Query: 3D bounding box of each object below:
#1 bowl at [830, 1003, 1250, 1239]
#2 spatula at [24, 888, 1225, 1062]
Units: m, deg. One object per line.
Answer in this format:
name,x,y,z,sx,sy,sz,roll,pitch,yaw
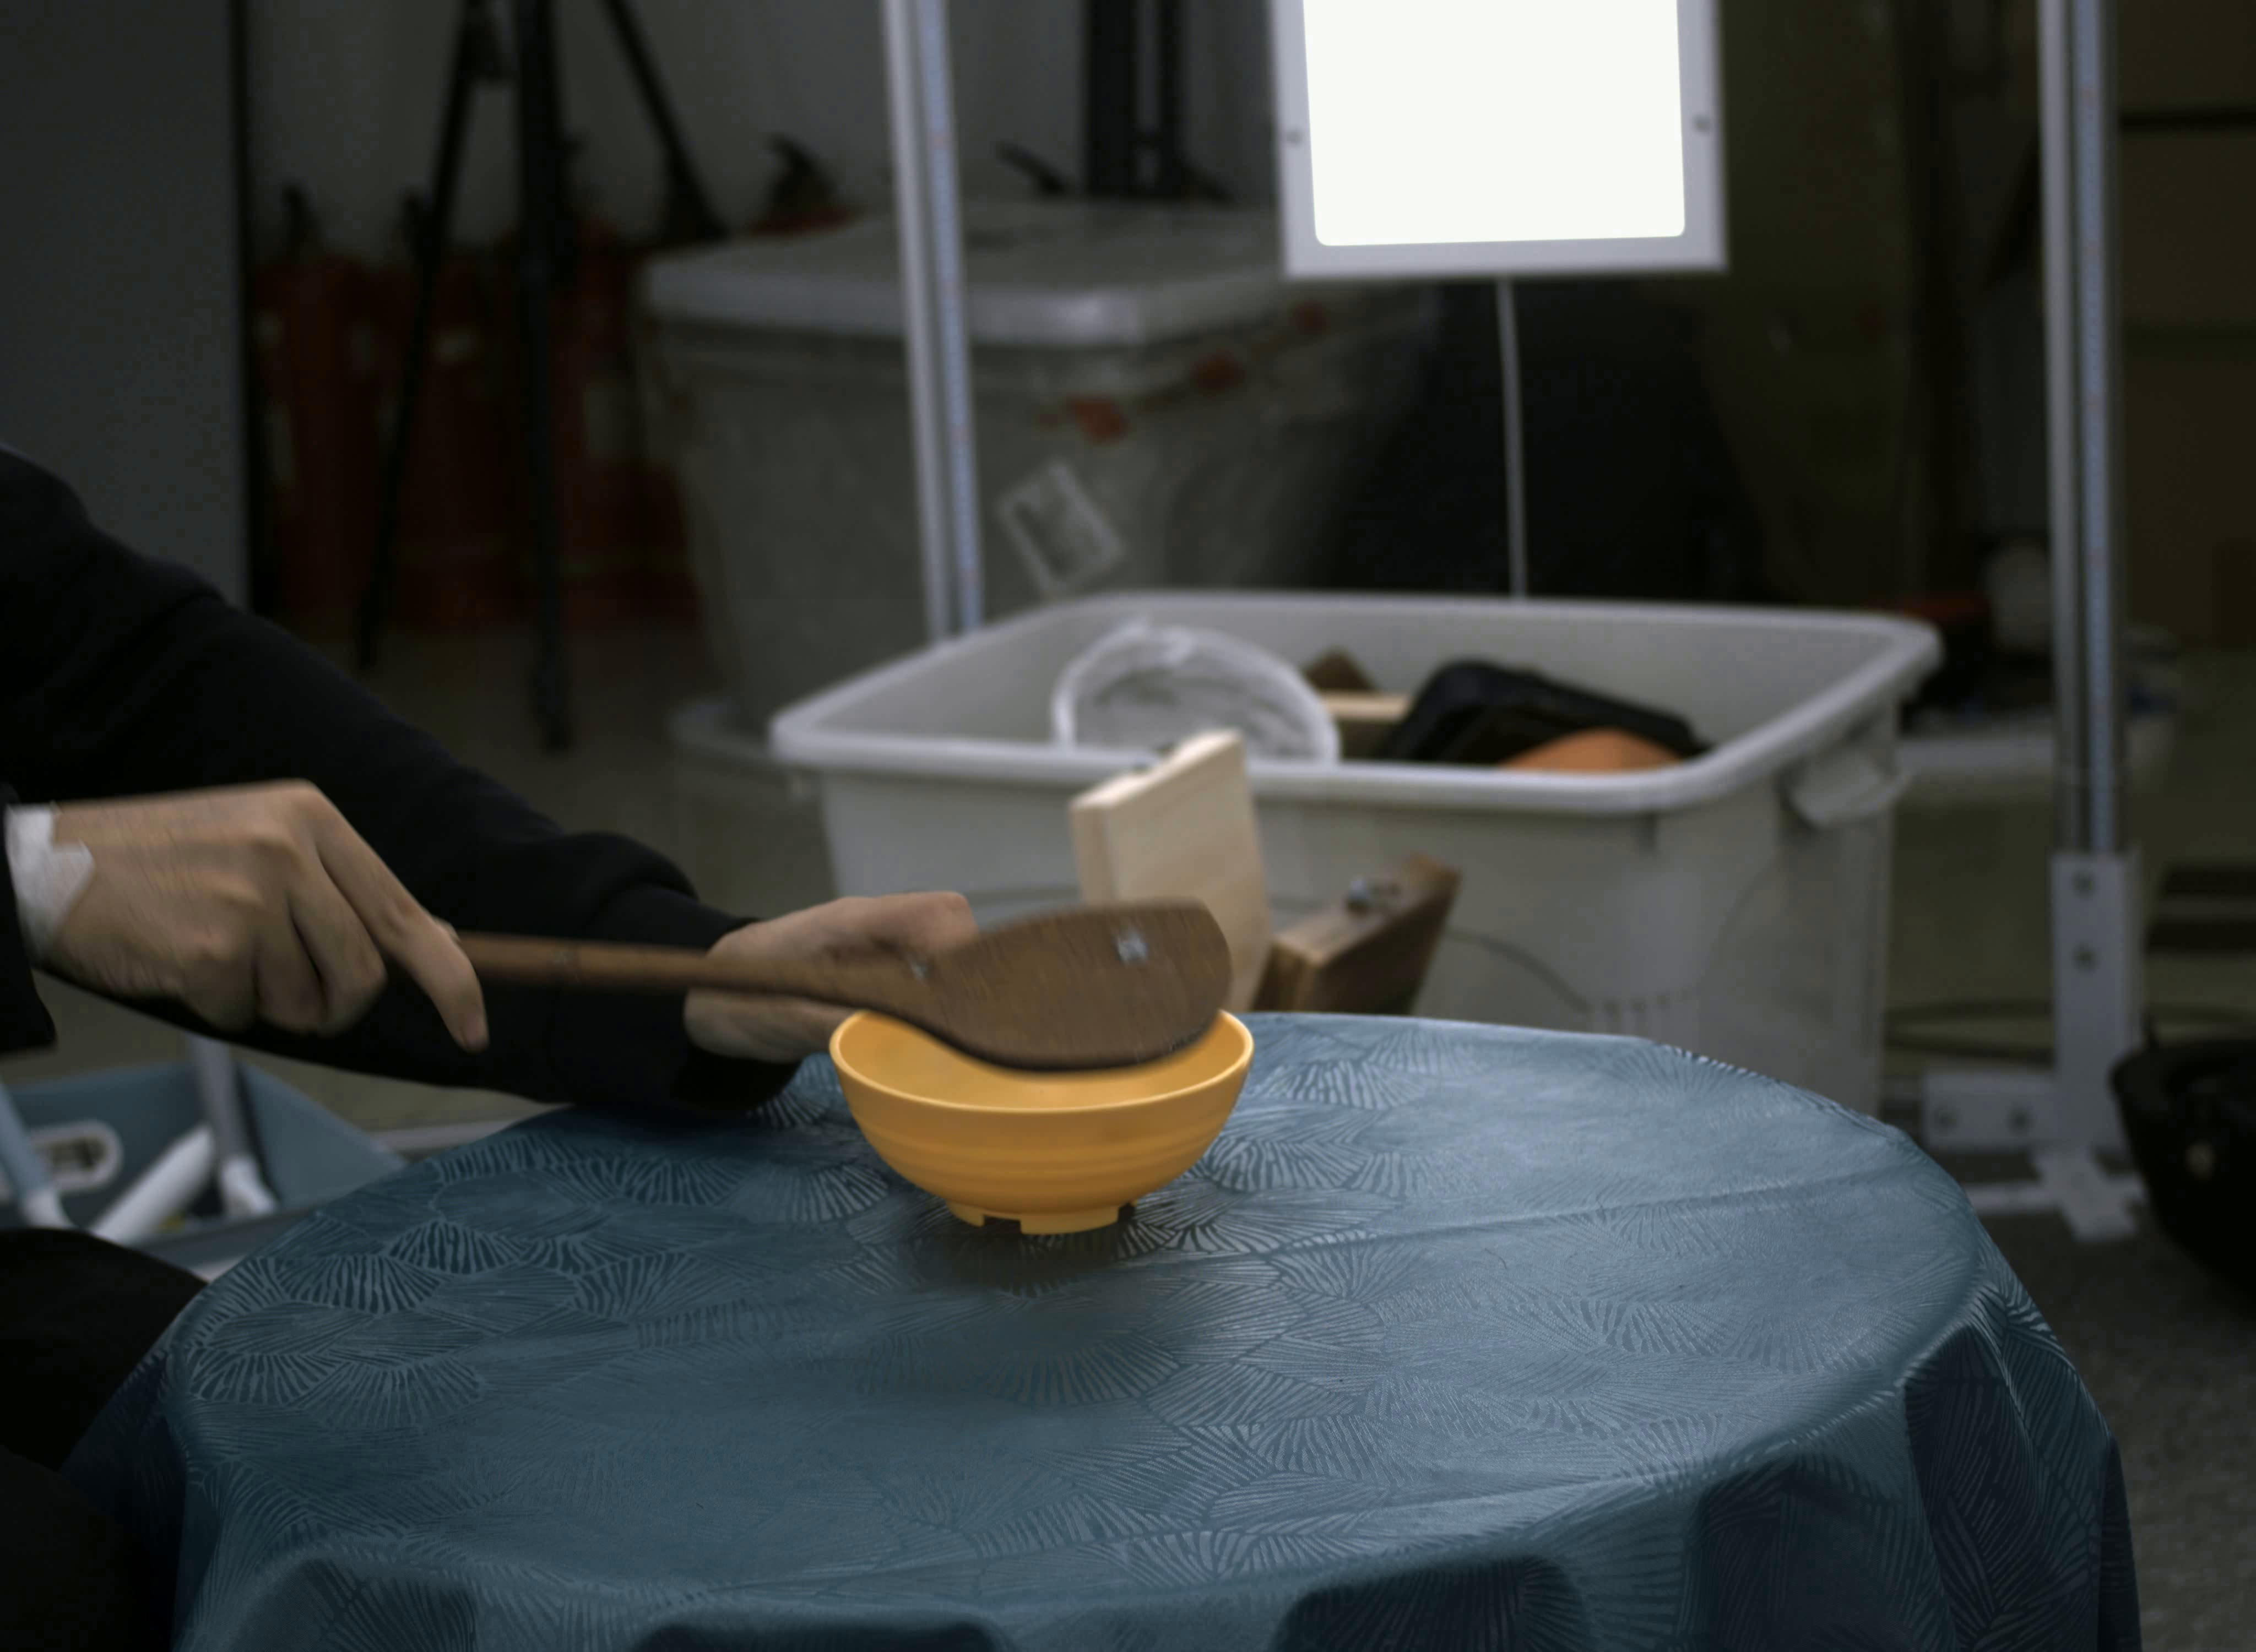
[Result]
bowl,-0.030,0.103,1.878,0.145,0.060,0.145,-1,14,-1
spatula,-0.161,0.041,1.750,0.386,0.016,0.095,2,31,6
